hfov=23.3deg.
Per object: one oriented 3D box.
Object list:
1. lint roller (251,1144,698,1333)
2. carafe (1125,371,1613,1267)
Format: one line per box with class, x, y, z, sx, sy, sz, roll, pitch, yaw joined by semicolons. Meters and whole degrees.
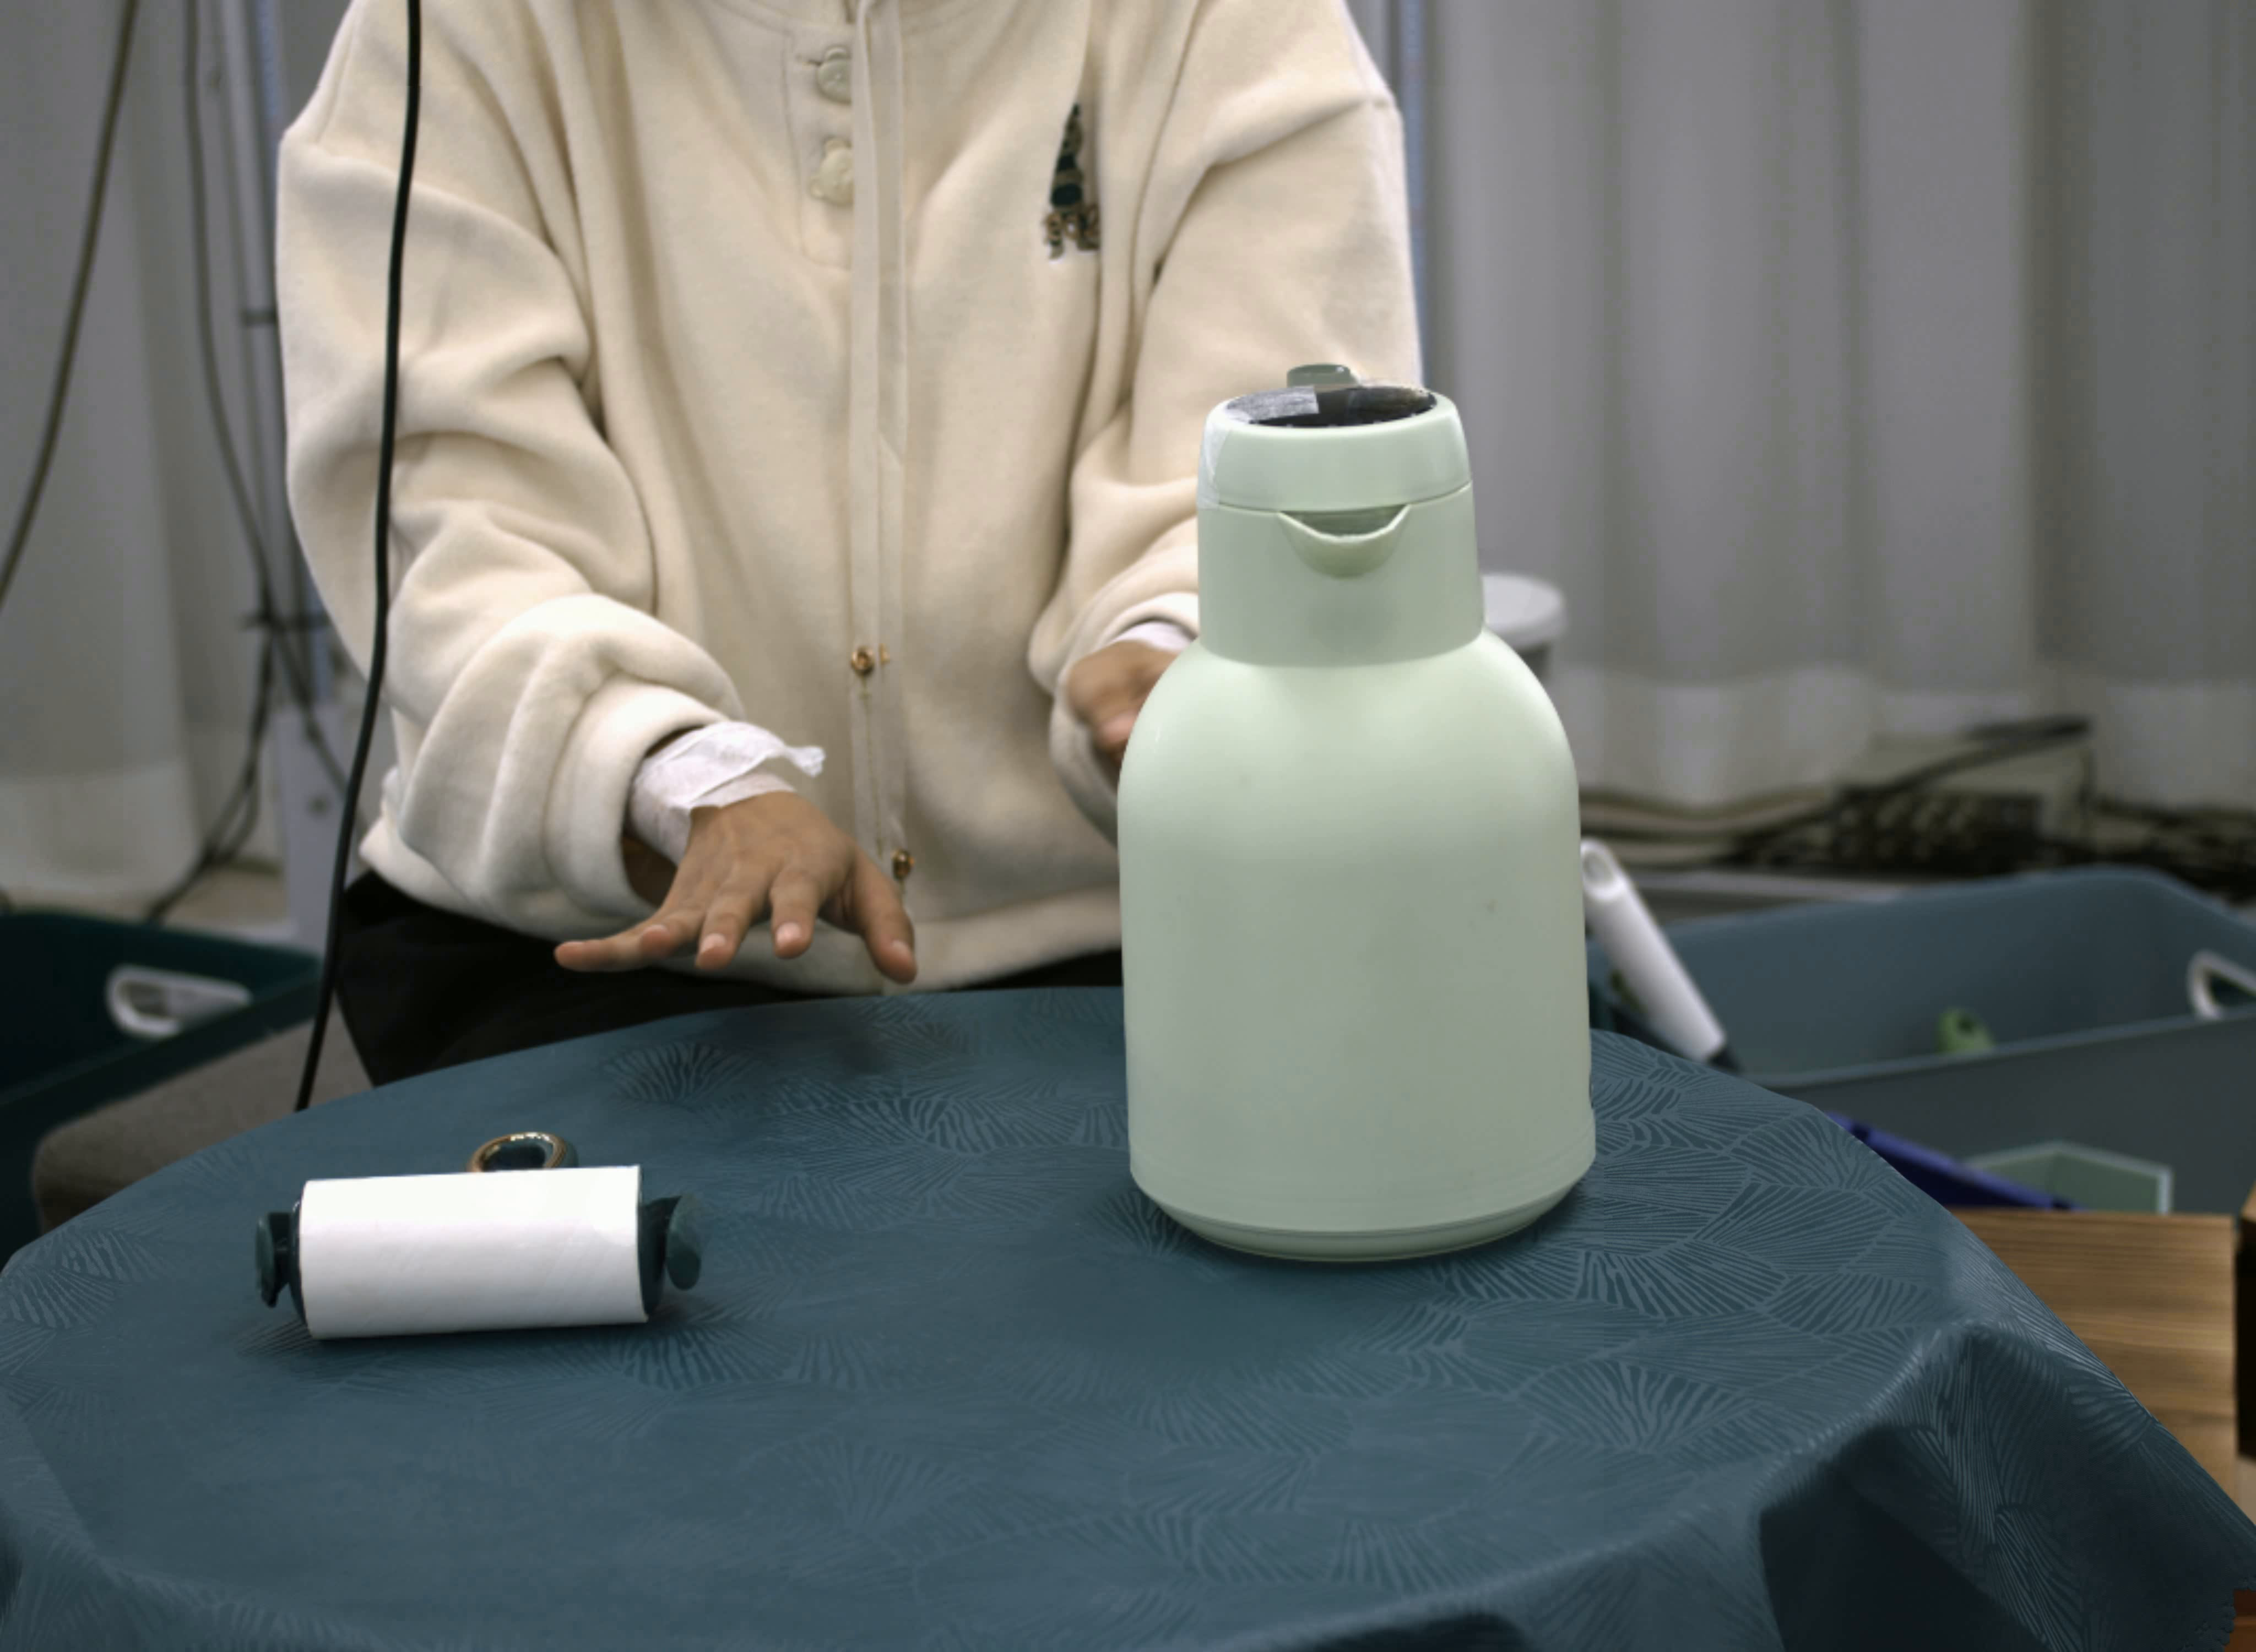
lint roller;-0.193;0.108;1.683;0.134;0.048;0.181;-2;15;0
carafe;0.069;-0.008;1.680;0.144;0.256;0.188;-5;10;0
